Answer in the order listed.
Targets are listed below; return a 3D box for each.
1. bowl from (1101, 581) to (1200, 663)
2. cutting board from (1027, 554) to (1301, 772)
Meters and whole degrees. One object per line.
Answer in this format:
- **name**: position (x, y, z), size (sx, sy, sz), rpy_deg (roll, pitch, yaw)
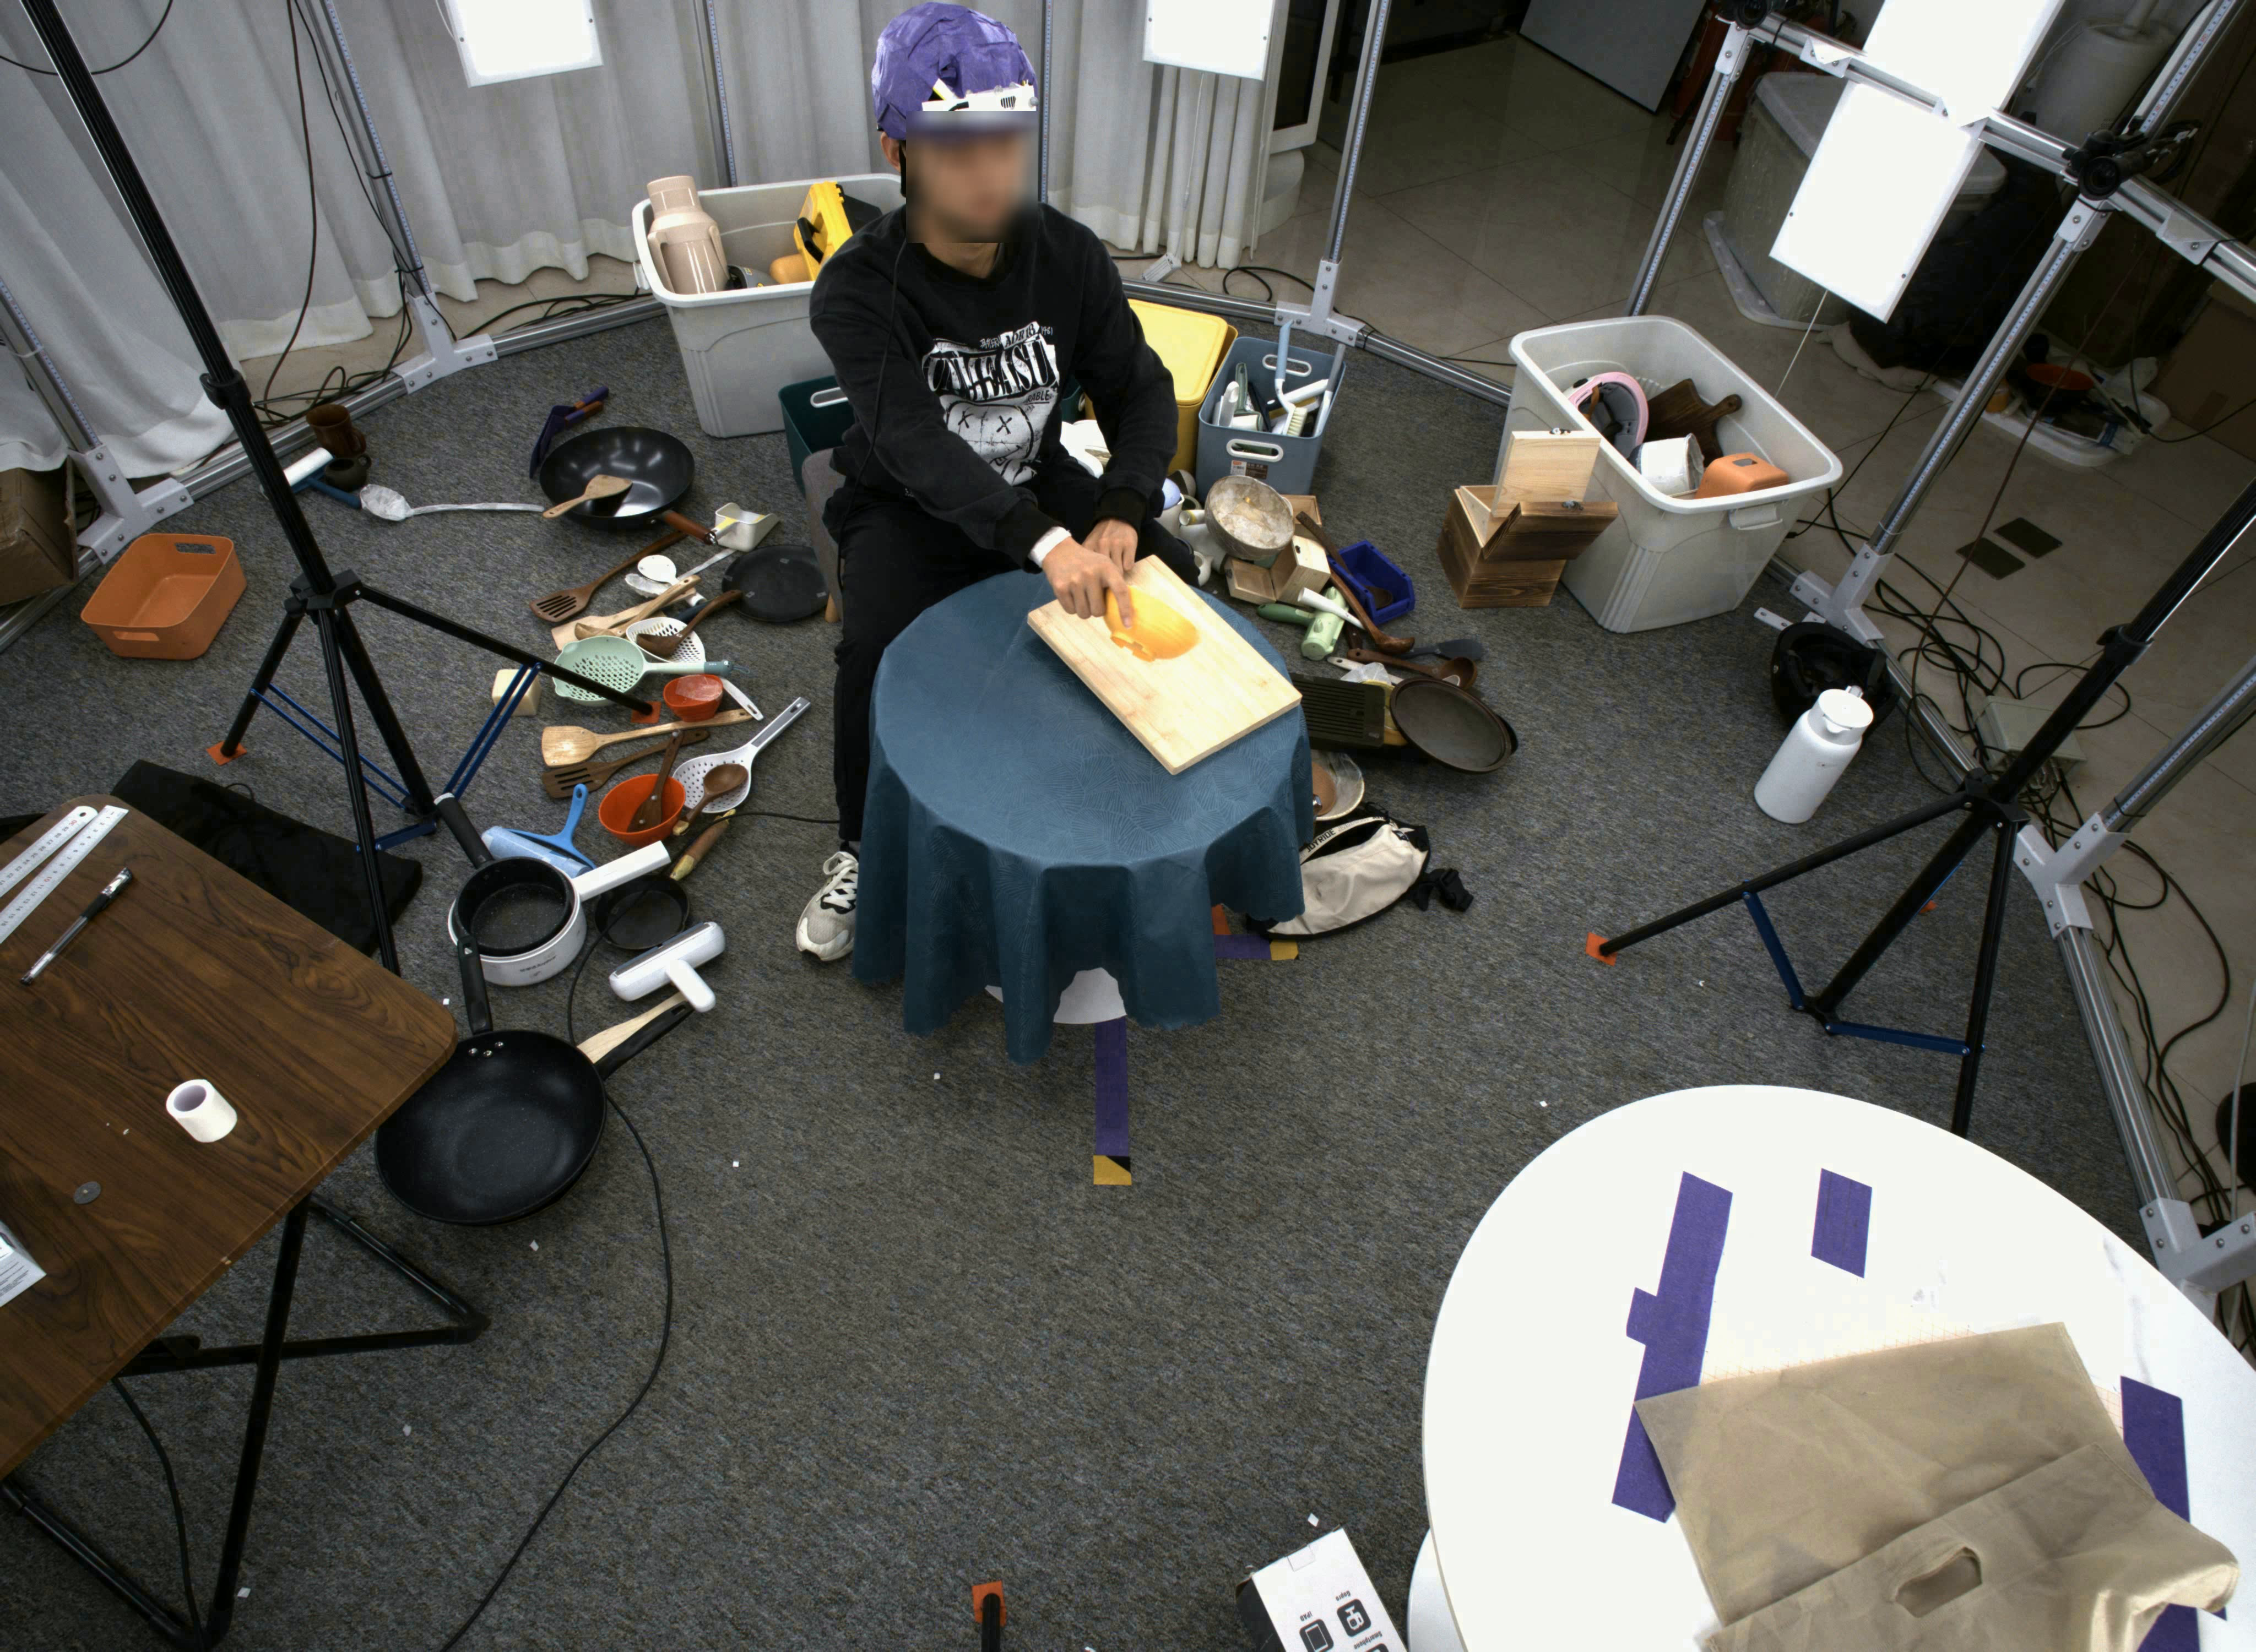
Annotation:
- **bowl**: position (0.018, -0.255, 1.674), size (0.147, 0.143, 0.060), rpy_deg (29, 87, 19)
- **cutting board**: position (0.050, -0.245, 1.872), size (0.252, 0.023, 0.354), rpy_deg (-30, 62, -26)
